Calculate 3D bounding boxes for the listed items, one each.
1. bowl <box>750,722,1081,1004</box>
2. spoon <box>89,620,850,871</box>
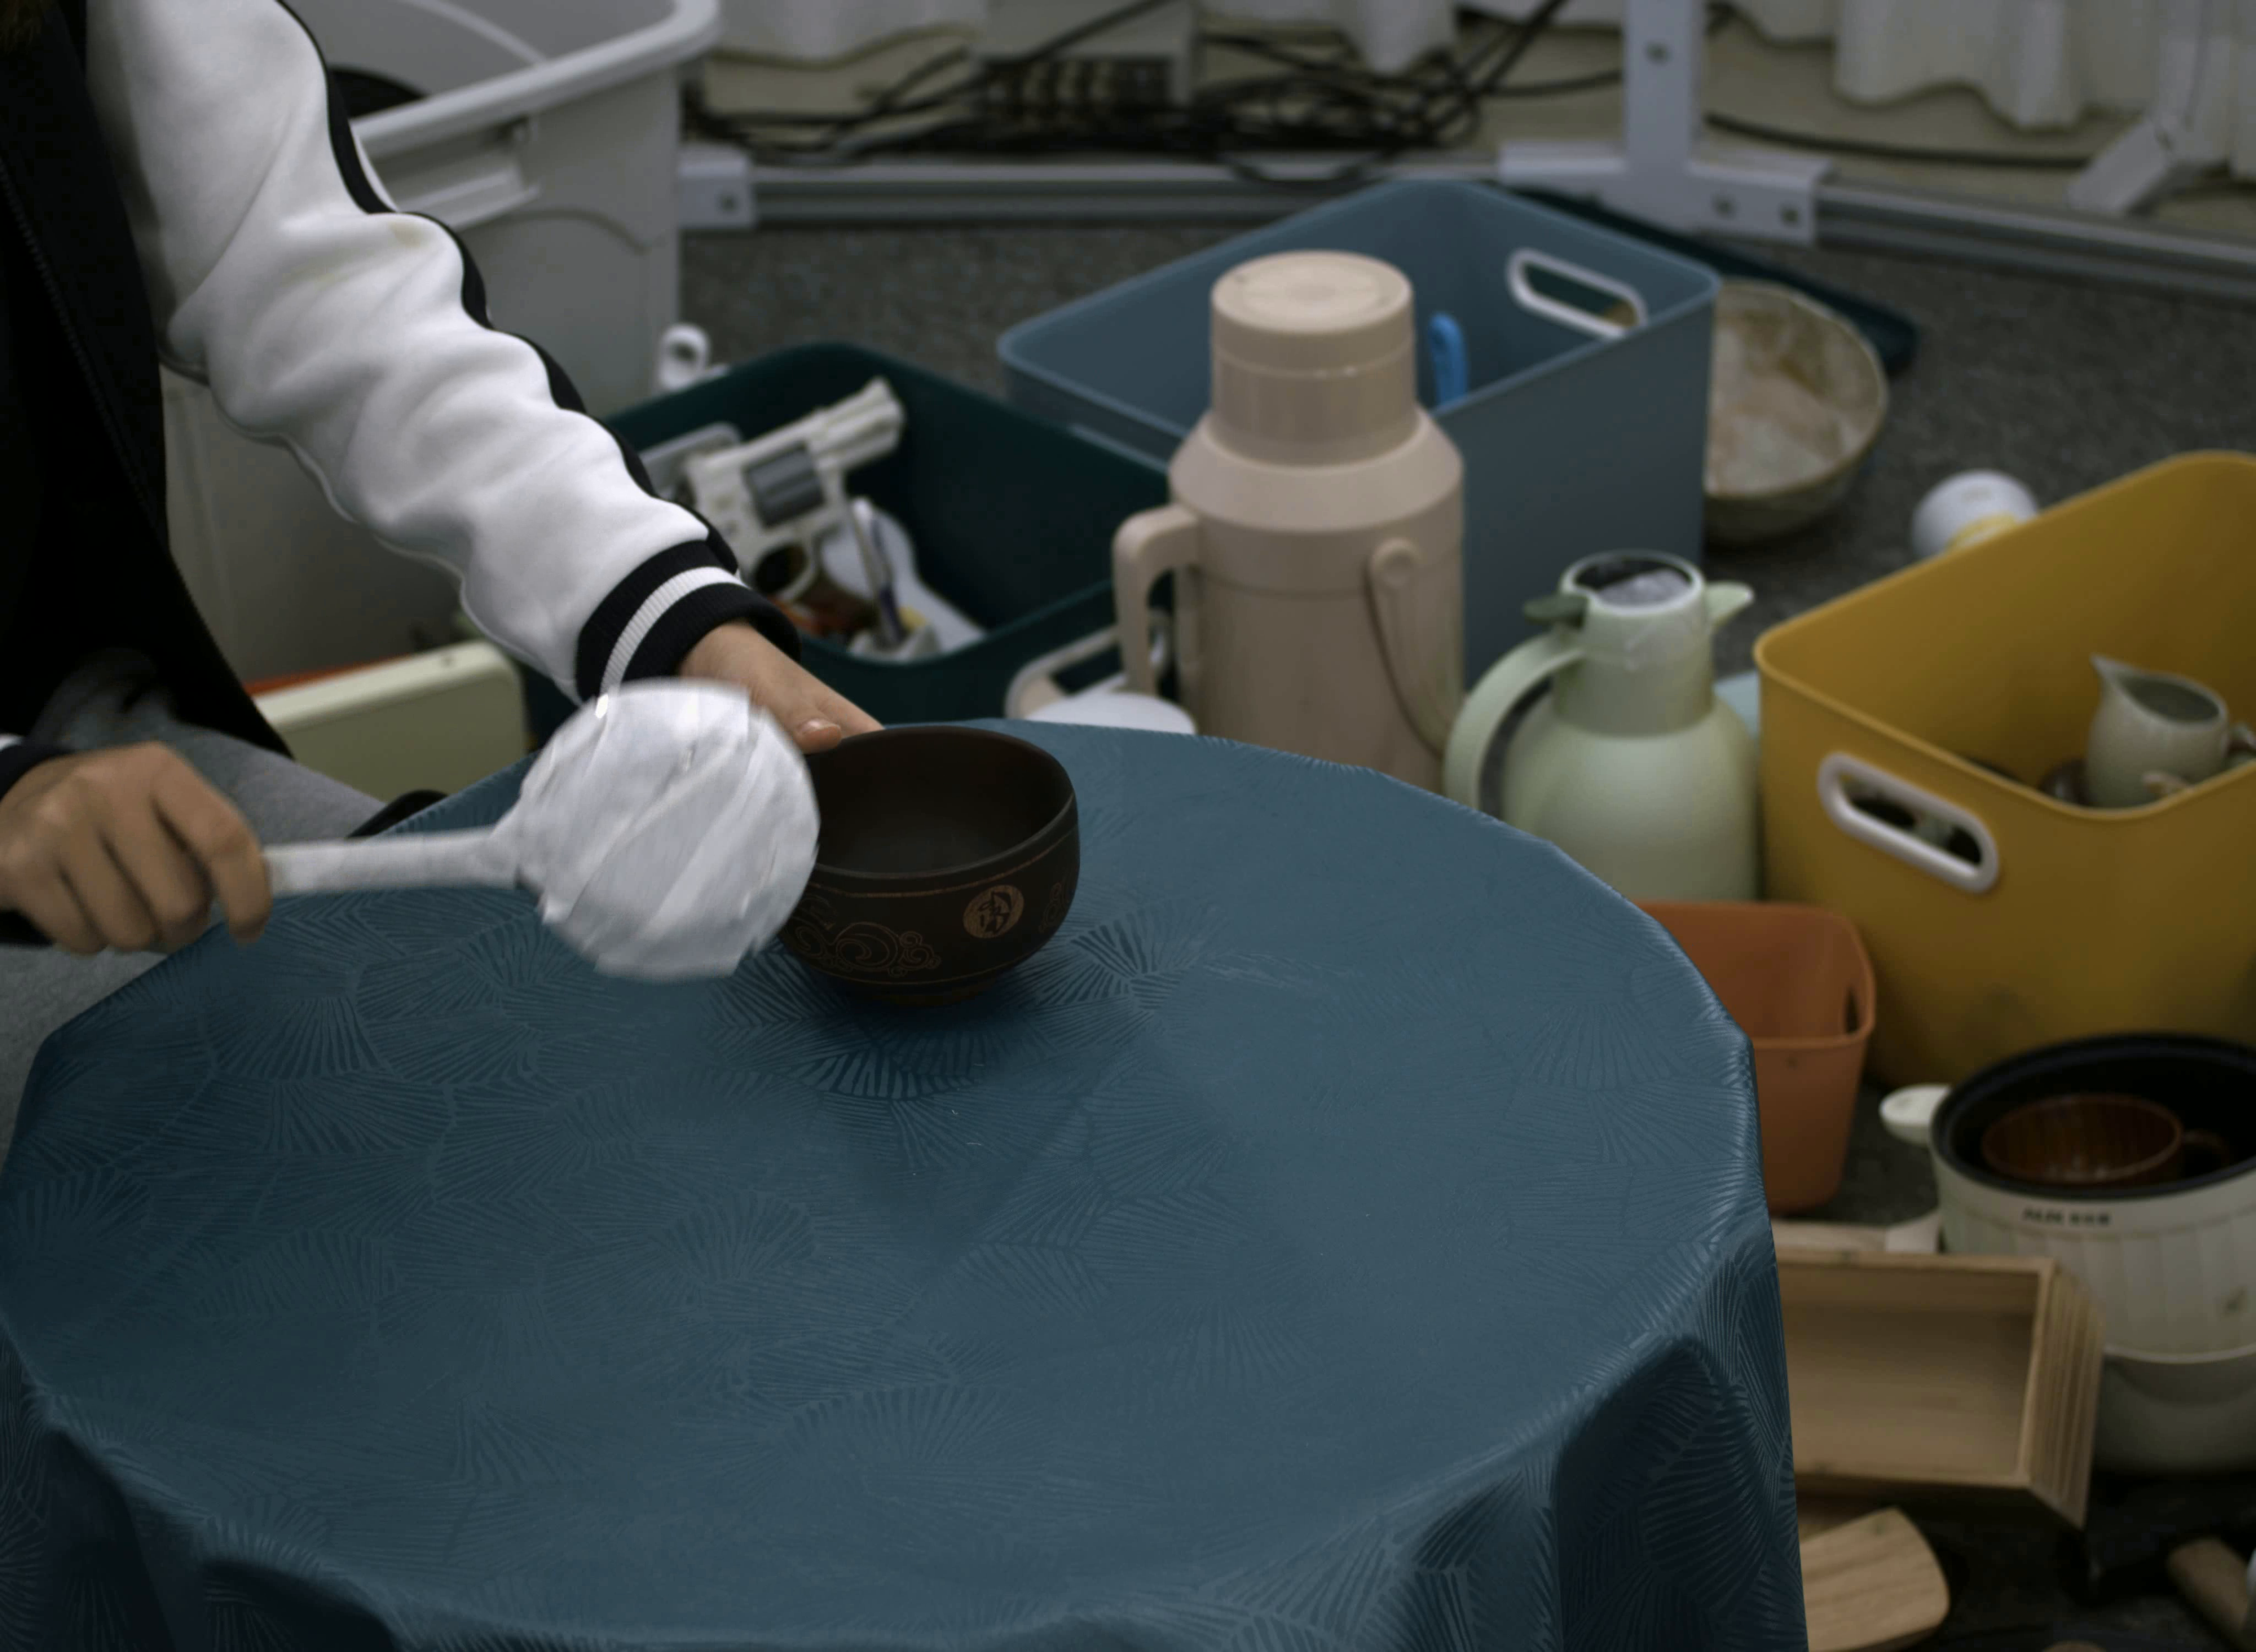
[{"bbox_3d":[-0.074,0.019,1.988,0.117,0.069,0.120,-2,27,2],"label":"bowl"},{"bbox_3d":[-0.220,-0.019,1.855,0.274,0.099,0.060,-2,41,29],"label":"spoon"}]
